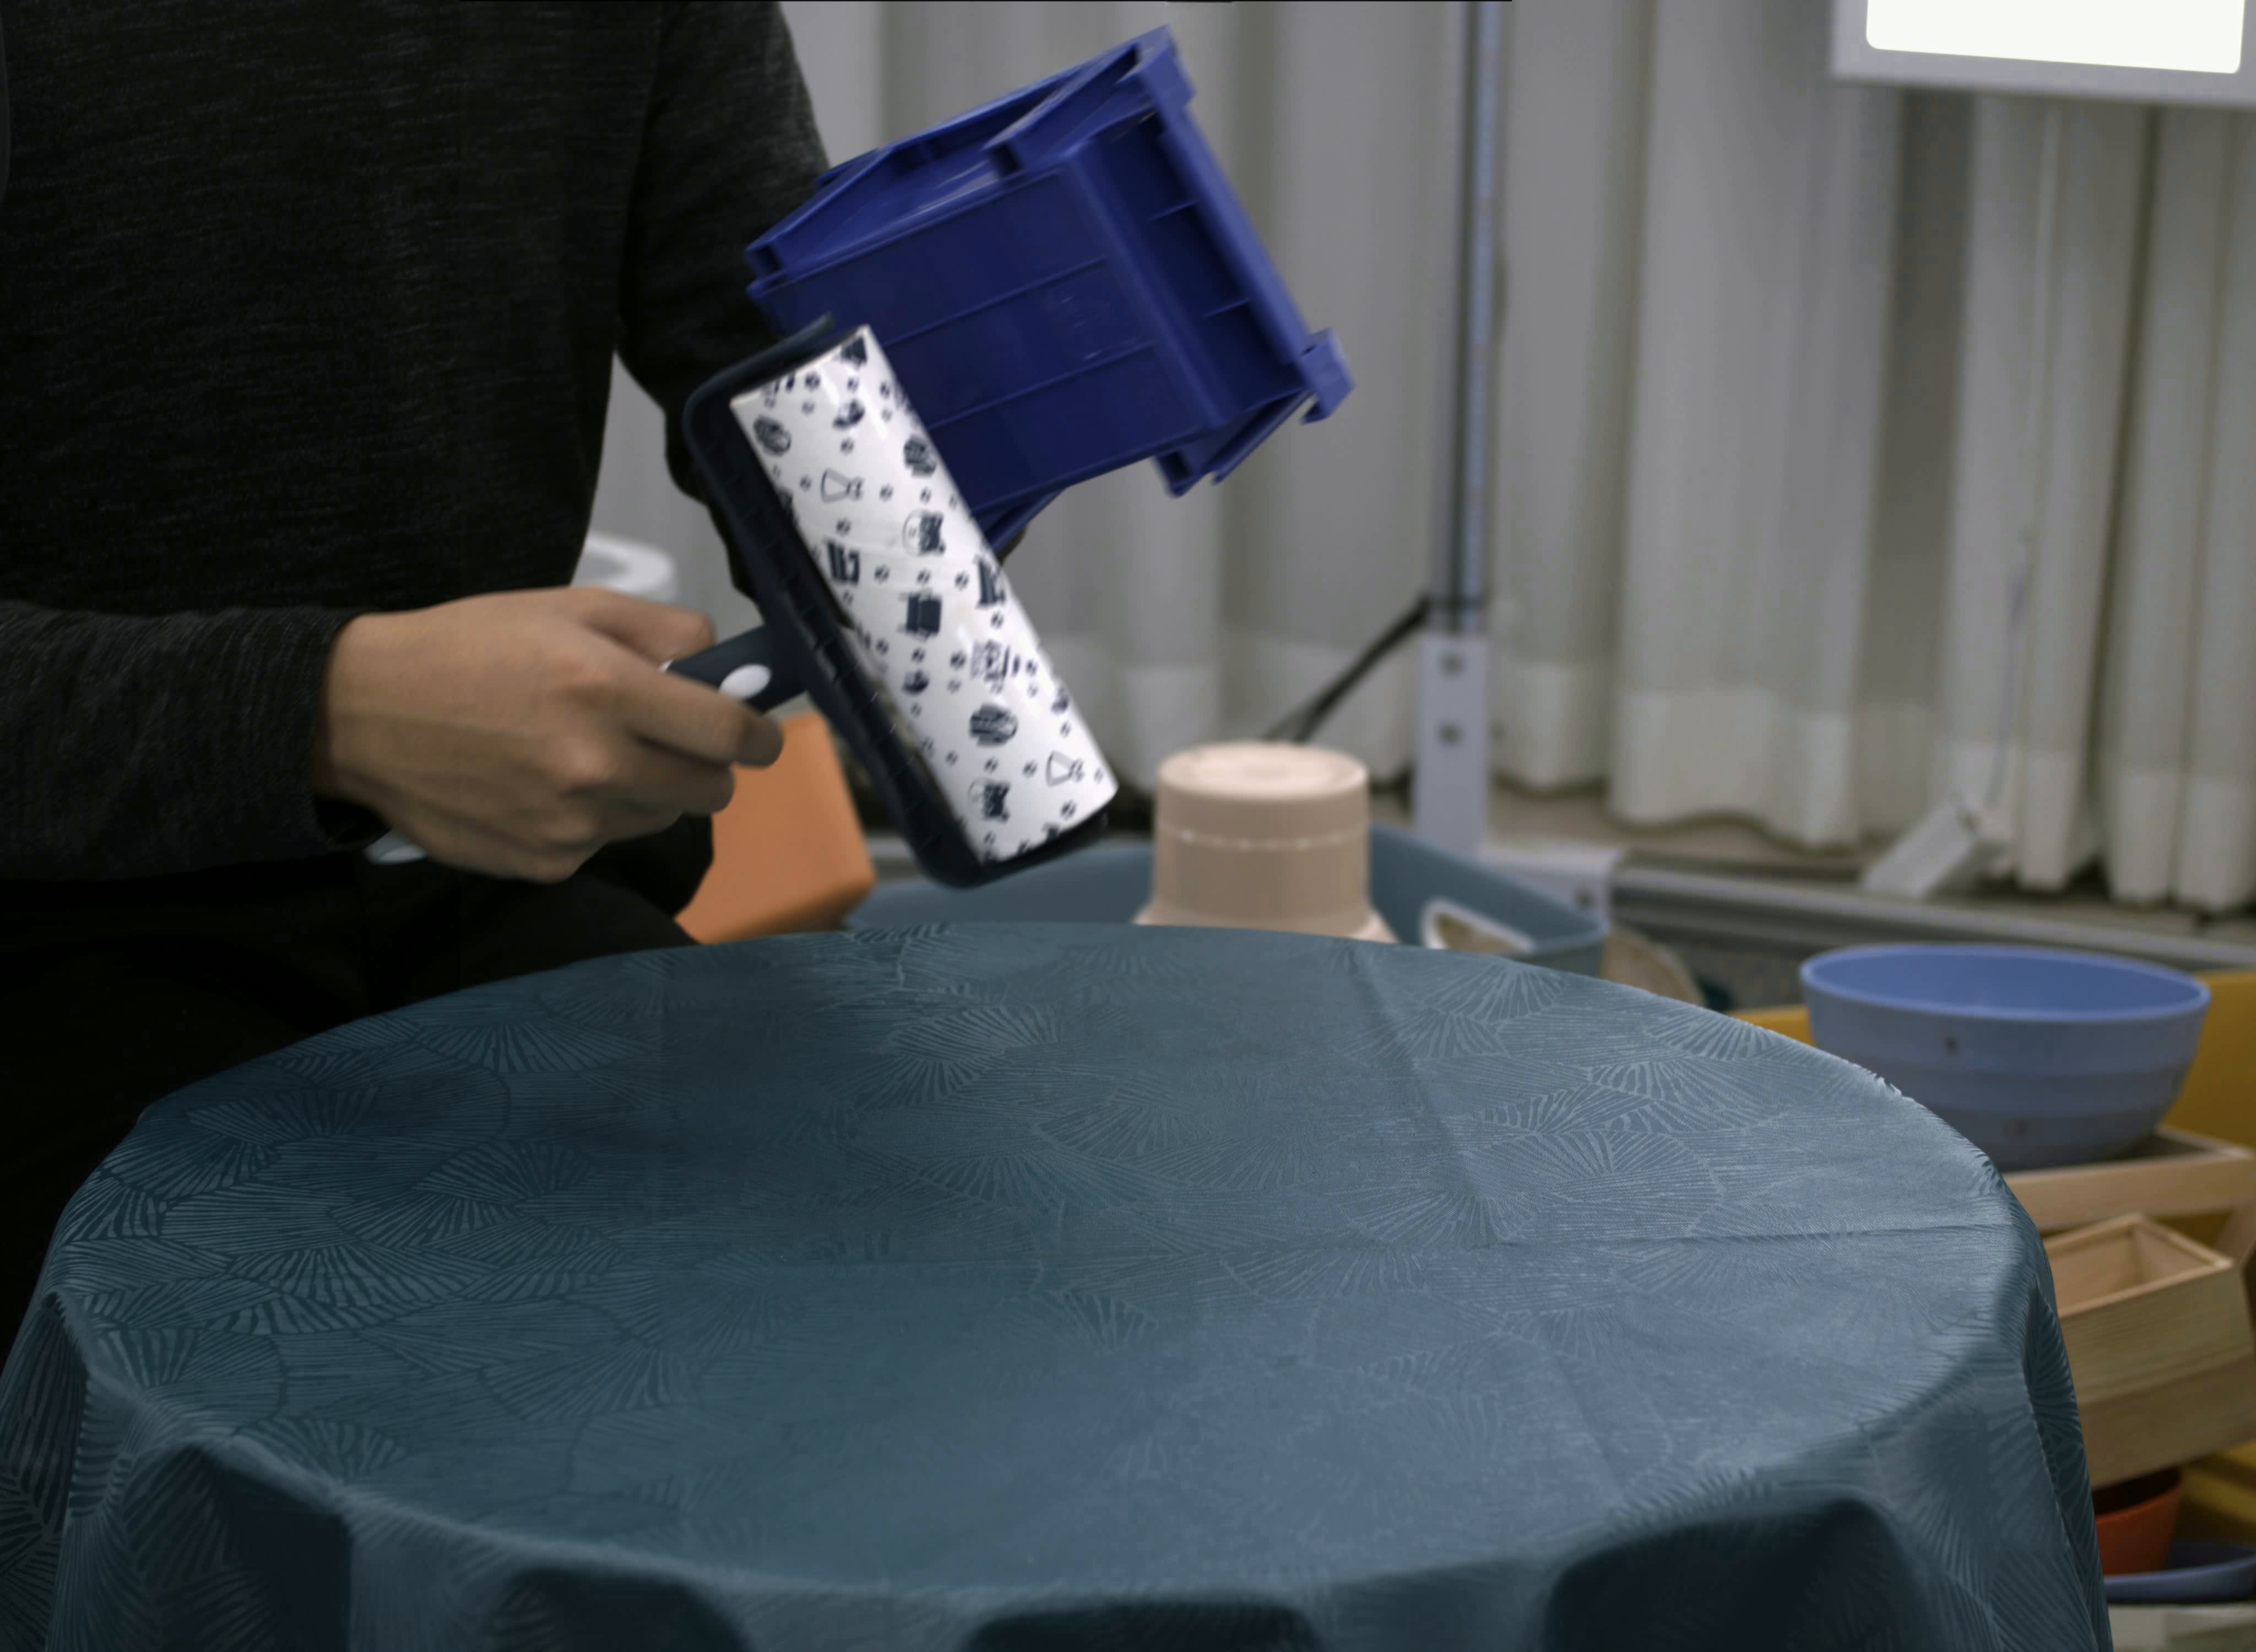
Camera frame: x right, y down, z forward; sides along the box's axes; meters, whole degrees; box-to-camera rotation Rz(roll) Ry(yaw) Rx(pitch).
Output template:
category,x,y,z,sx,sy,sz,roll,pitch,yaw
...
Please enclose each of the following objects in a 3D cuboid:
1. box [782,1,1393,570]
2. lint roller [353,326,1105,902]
category,x,y,z,sx,sy,sz,roll,pitch,yaw
box,-0.010,-0.168,1.635,0.178,0.125,0.082,-19,18,38
lint roller,-0.144,-0.029,1.619,0.246,0.177,0.050,-24,13,26
